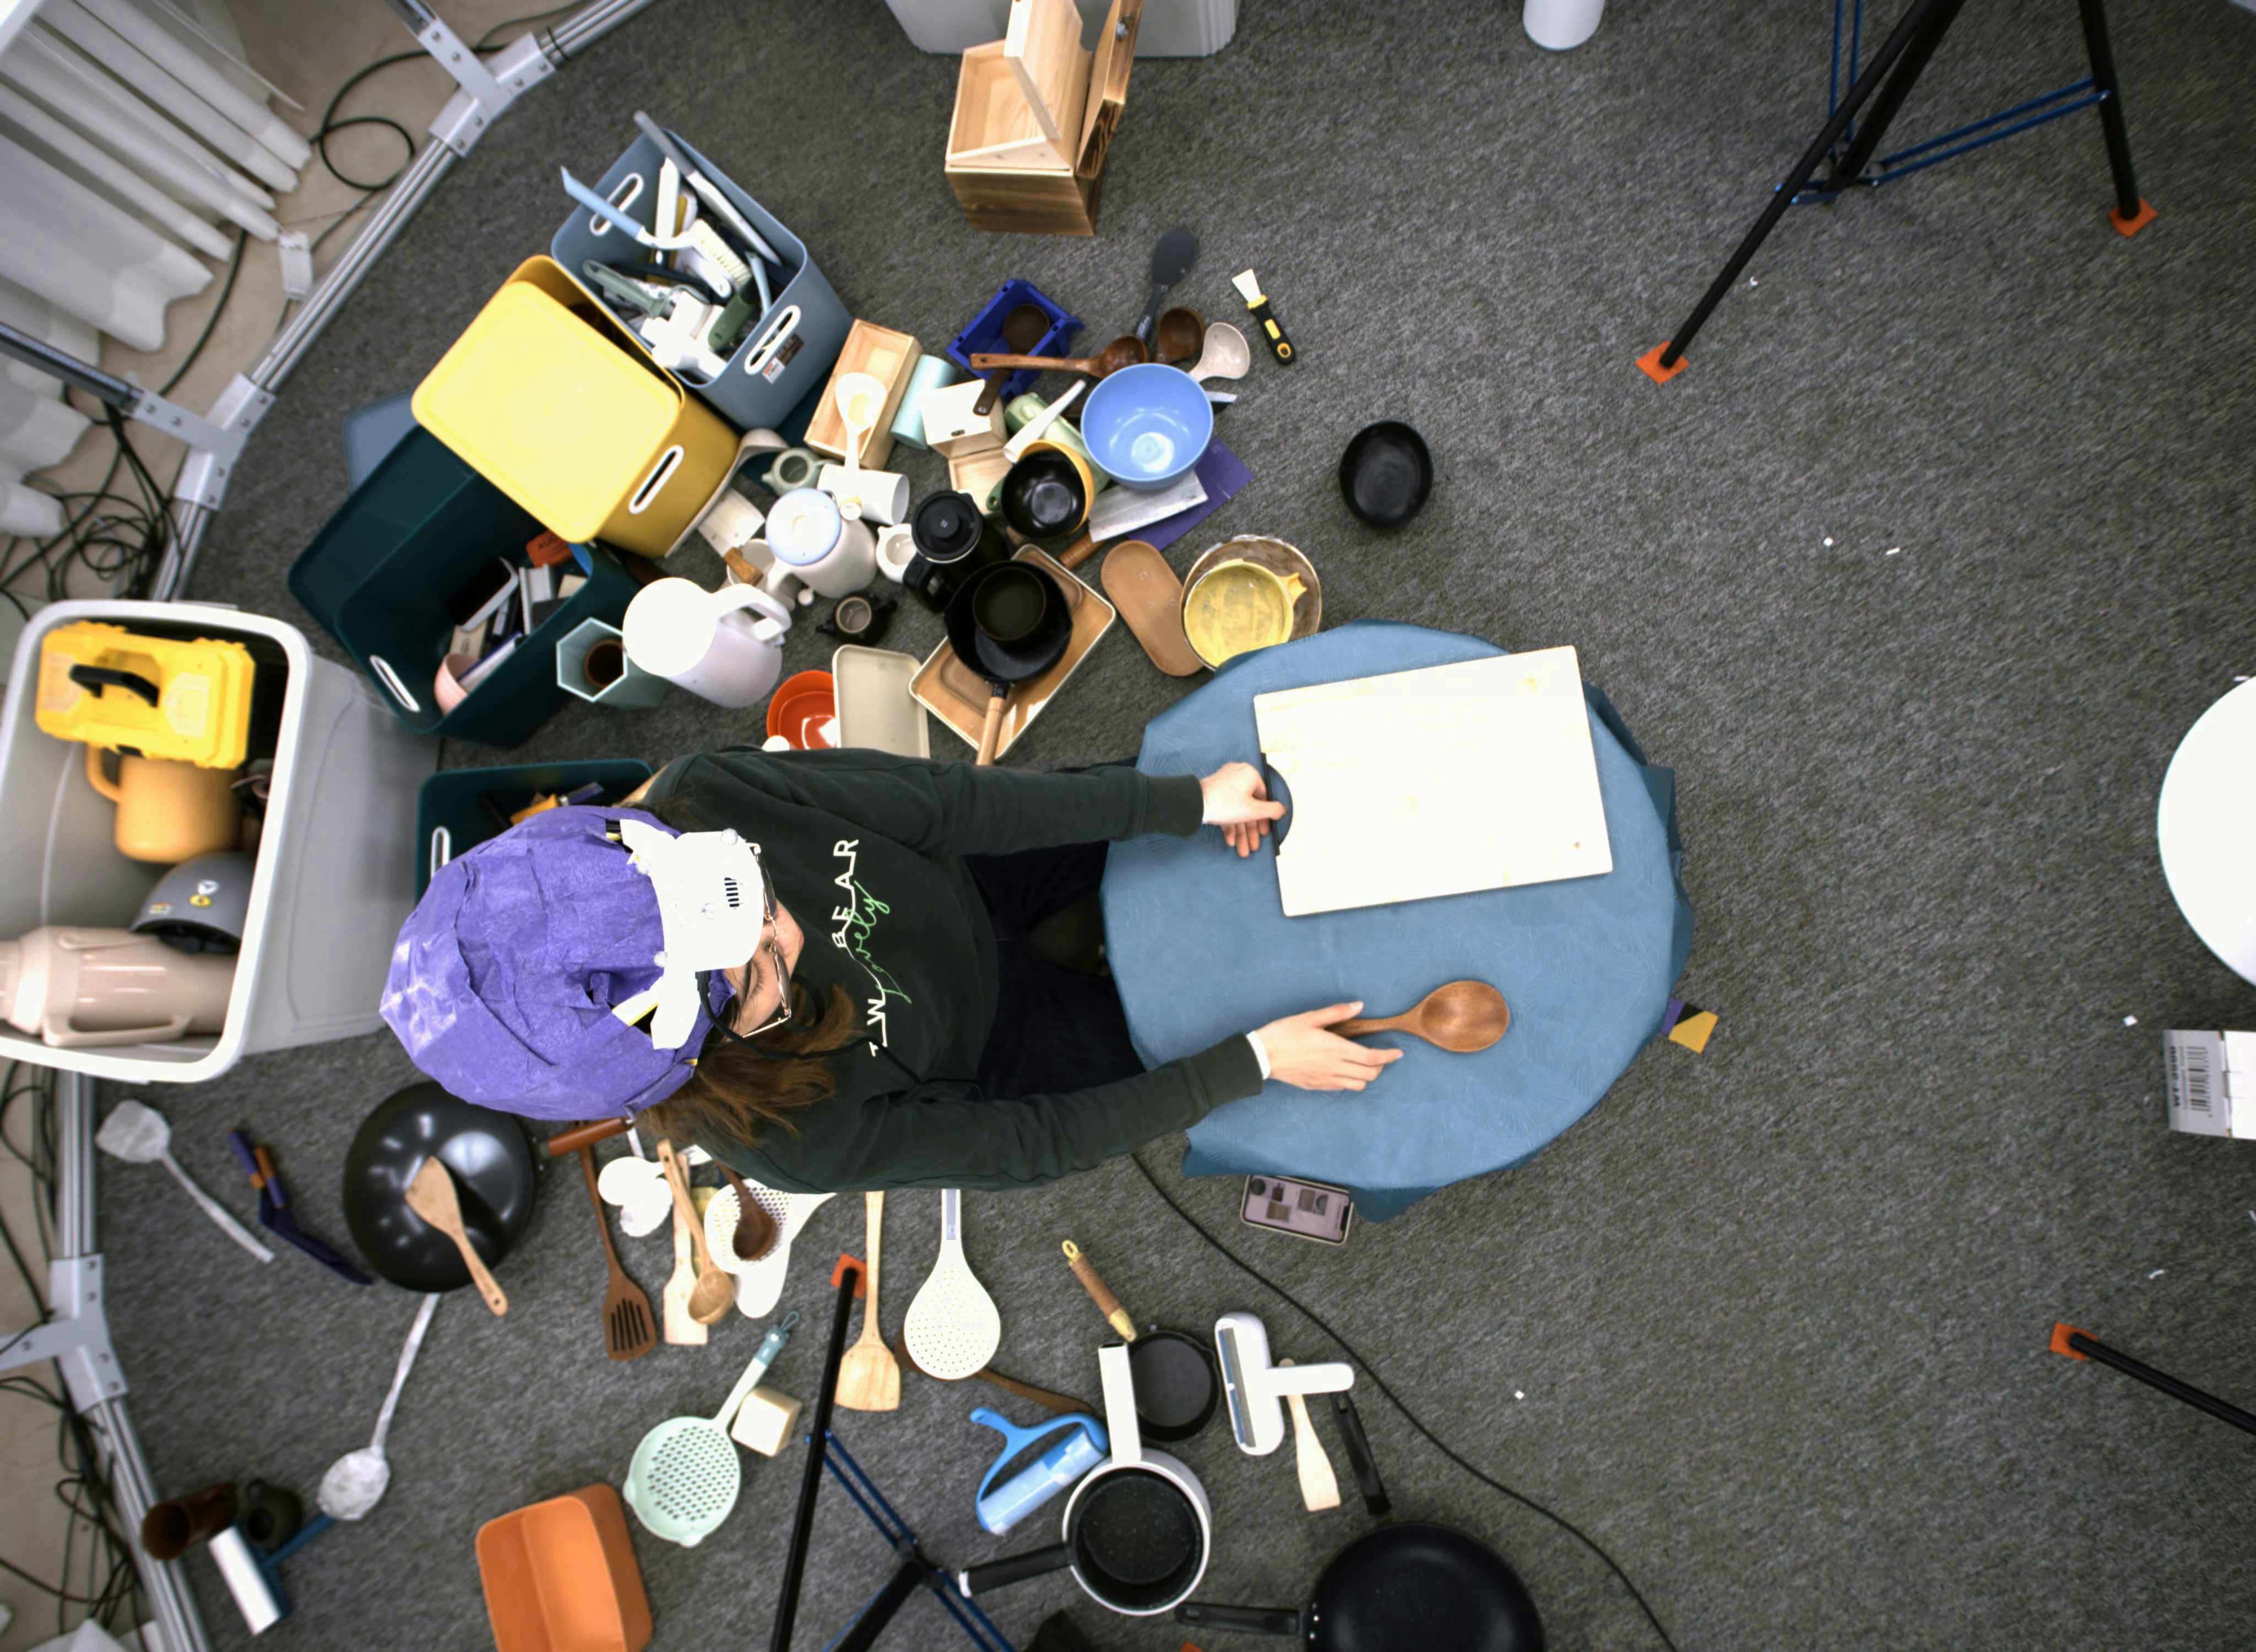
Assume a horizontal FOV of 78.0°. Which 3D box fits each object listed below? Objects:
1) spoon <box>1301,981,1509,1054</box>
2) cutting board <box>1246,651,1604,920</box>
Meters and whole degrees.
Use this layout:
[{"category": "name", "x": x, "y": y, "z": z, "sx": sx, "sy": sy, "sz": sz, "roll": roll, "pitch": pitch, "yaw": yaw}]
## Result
[{"category": "spoon", "x": 0.288, "y": 0.205, "z": 1.443, "sx": 0.217, "sy": 0.017, "sz": 0.075, "roll": -8, "pitch": 86, "yaw": 9}, {"category": "cutting board", "x": 0.313, "y": -0.044, "z": 1.457, "sx": 0.350, "sy": 0.023, "sz": 0.249, "roll": -9, "pitch": 84, "yaw": 10}]
